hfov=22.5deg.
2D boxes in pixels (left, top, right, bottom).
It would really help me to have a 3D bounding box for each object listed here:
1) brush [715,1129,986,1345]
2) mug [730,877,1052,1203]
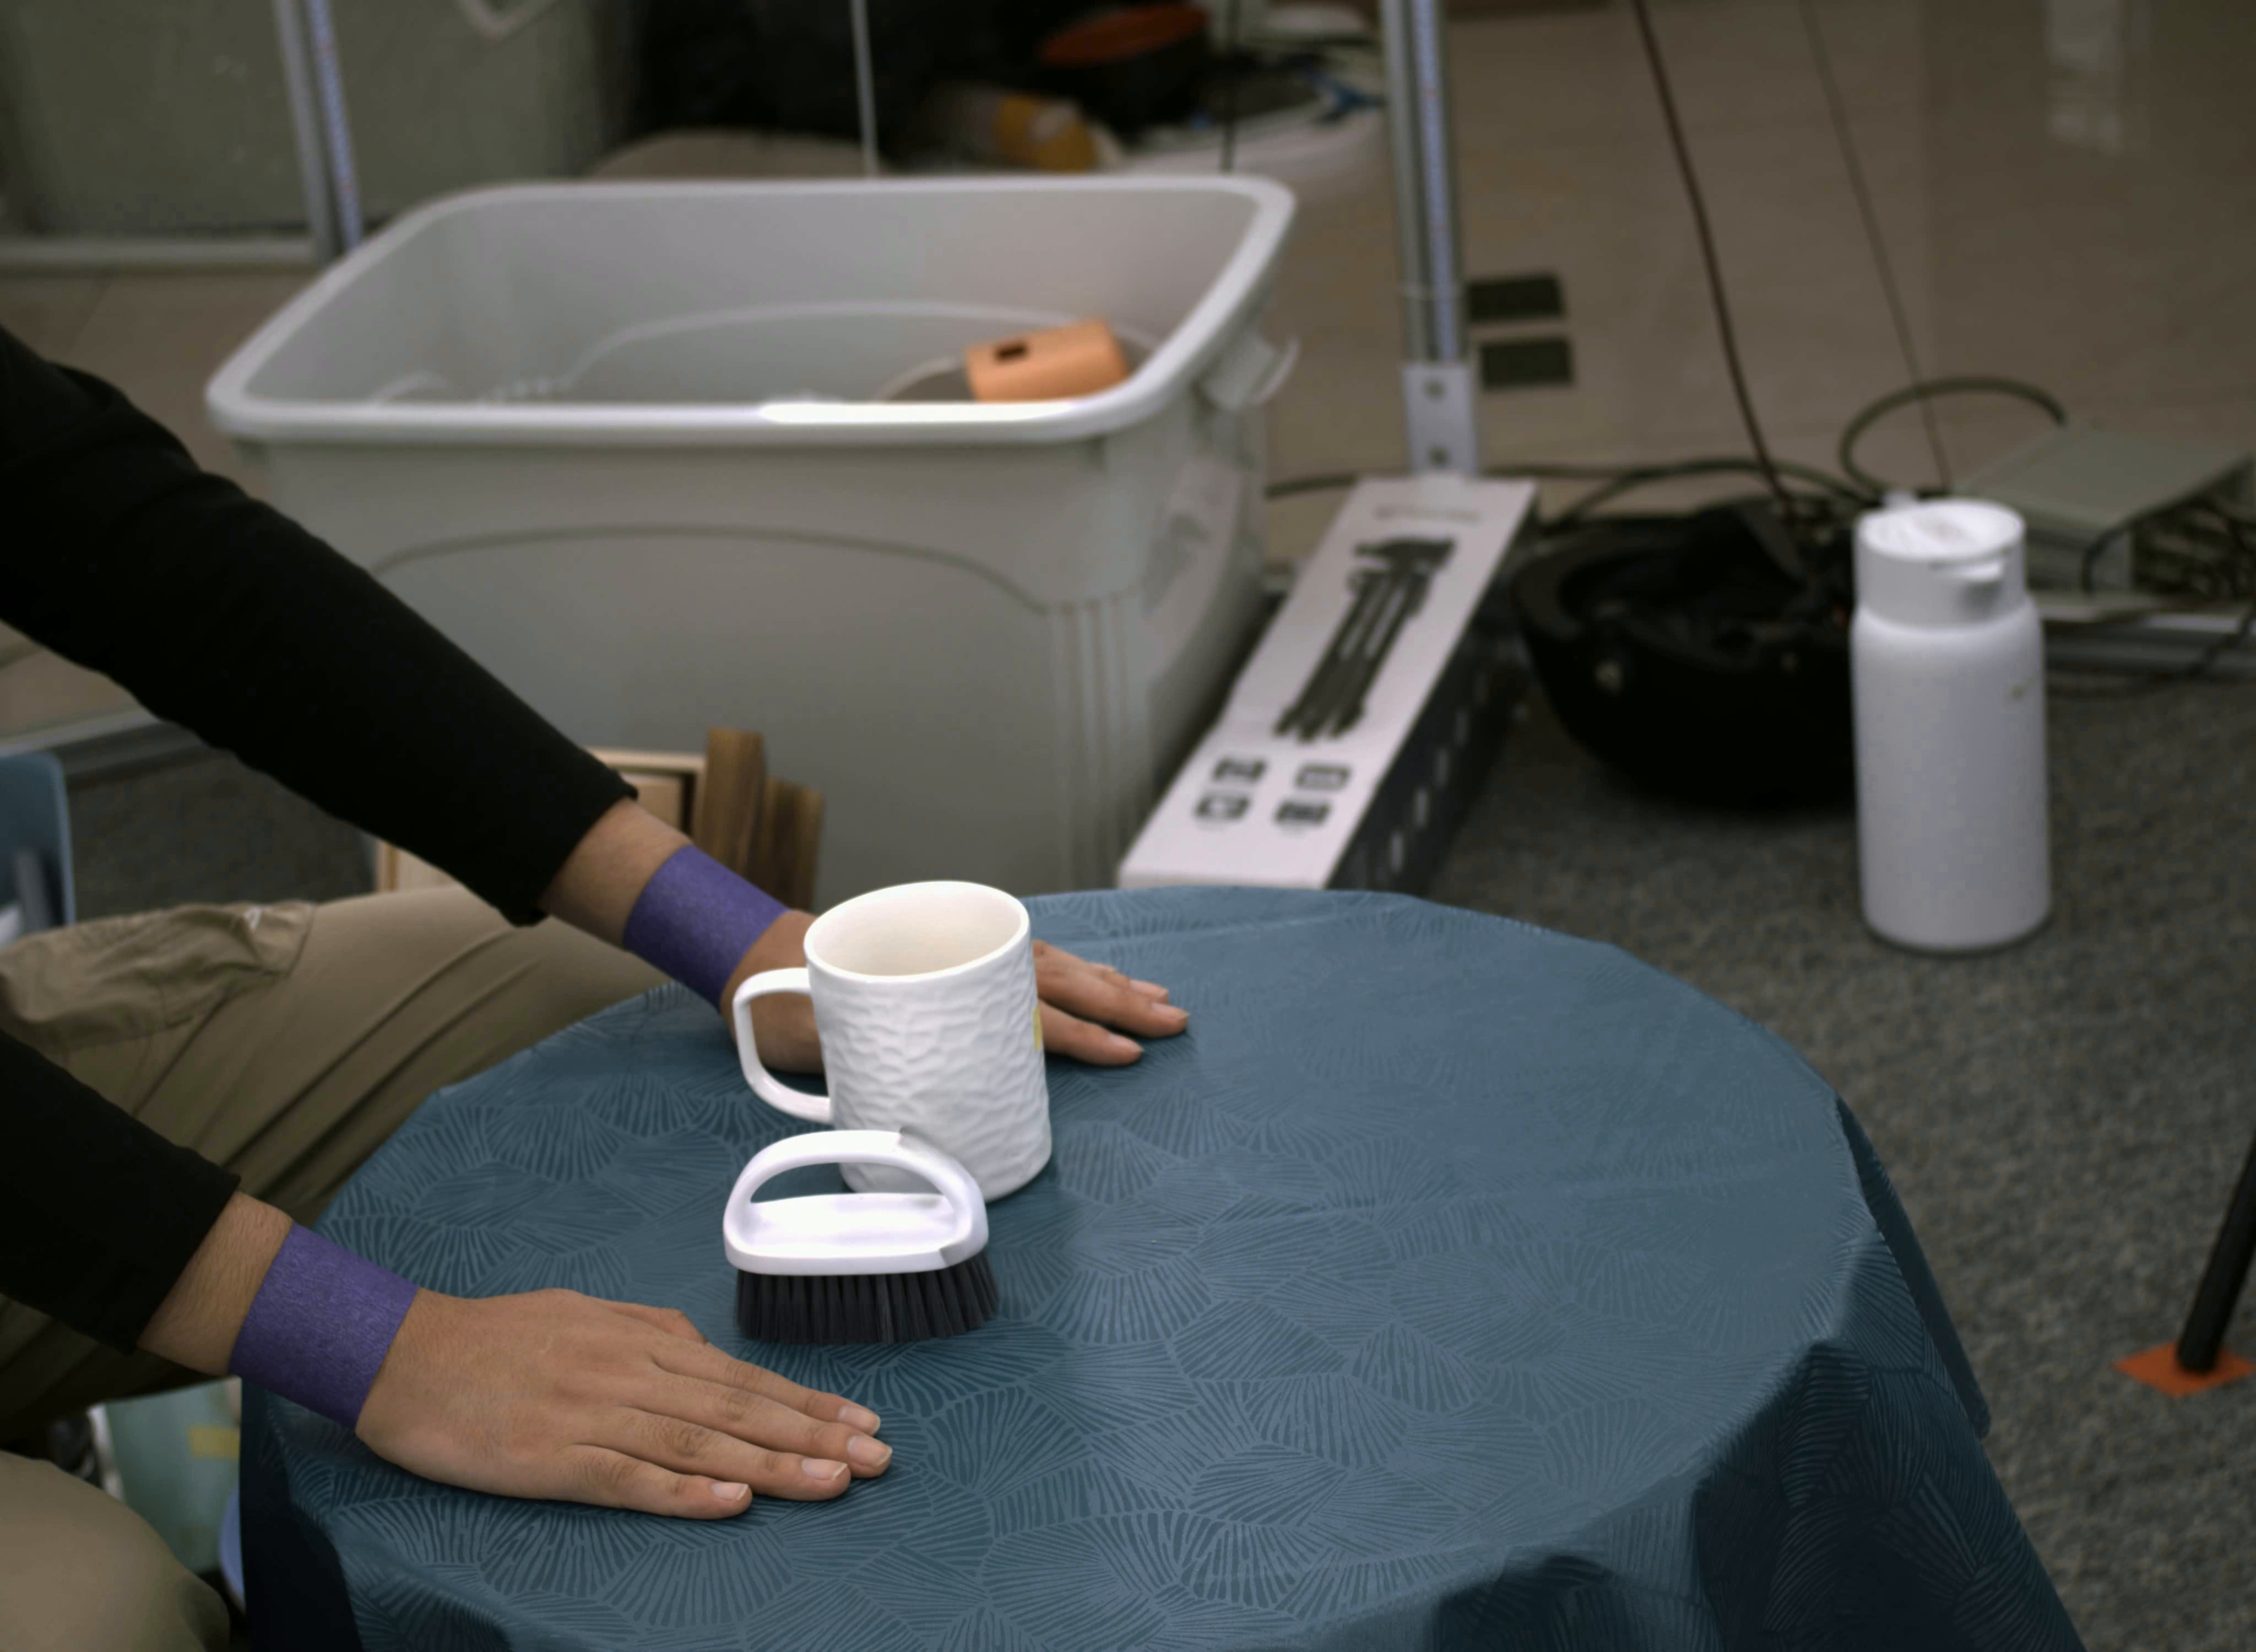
[{"bbox_3d":[-0.102,0.146,2.067,0.099,0.073,0.049,-1,21,1],"label":"brush"},{"bbox_3d":[-0.091,0.084,2.161,0.118,0.103,0.083,-3,26,8],"label":"mug"}]
